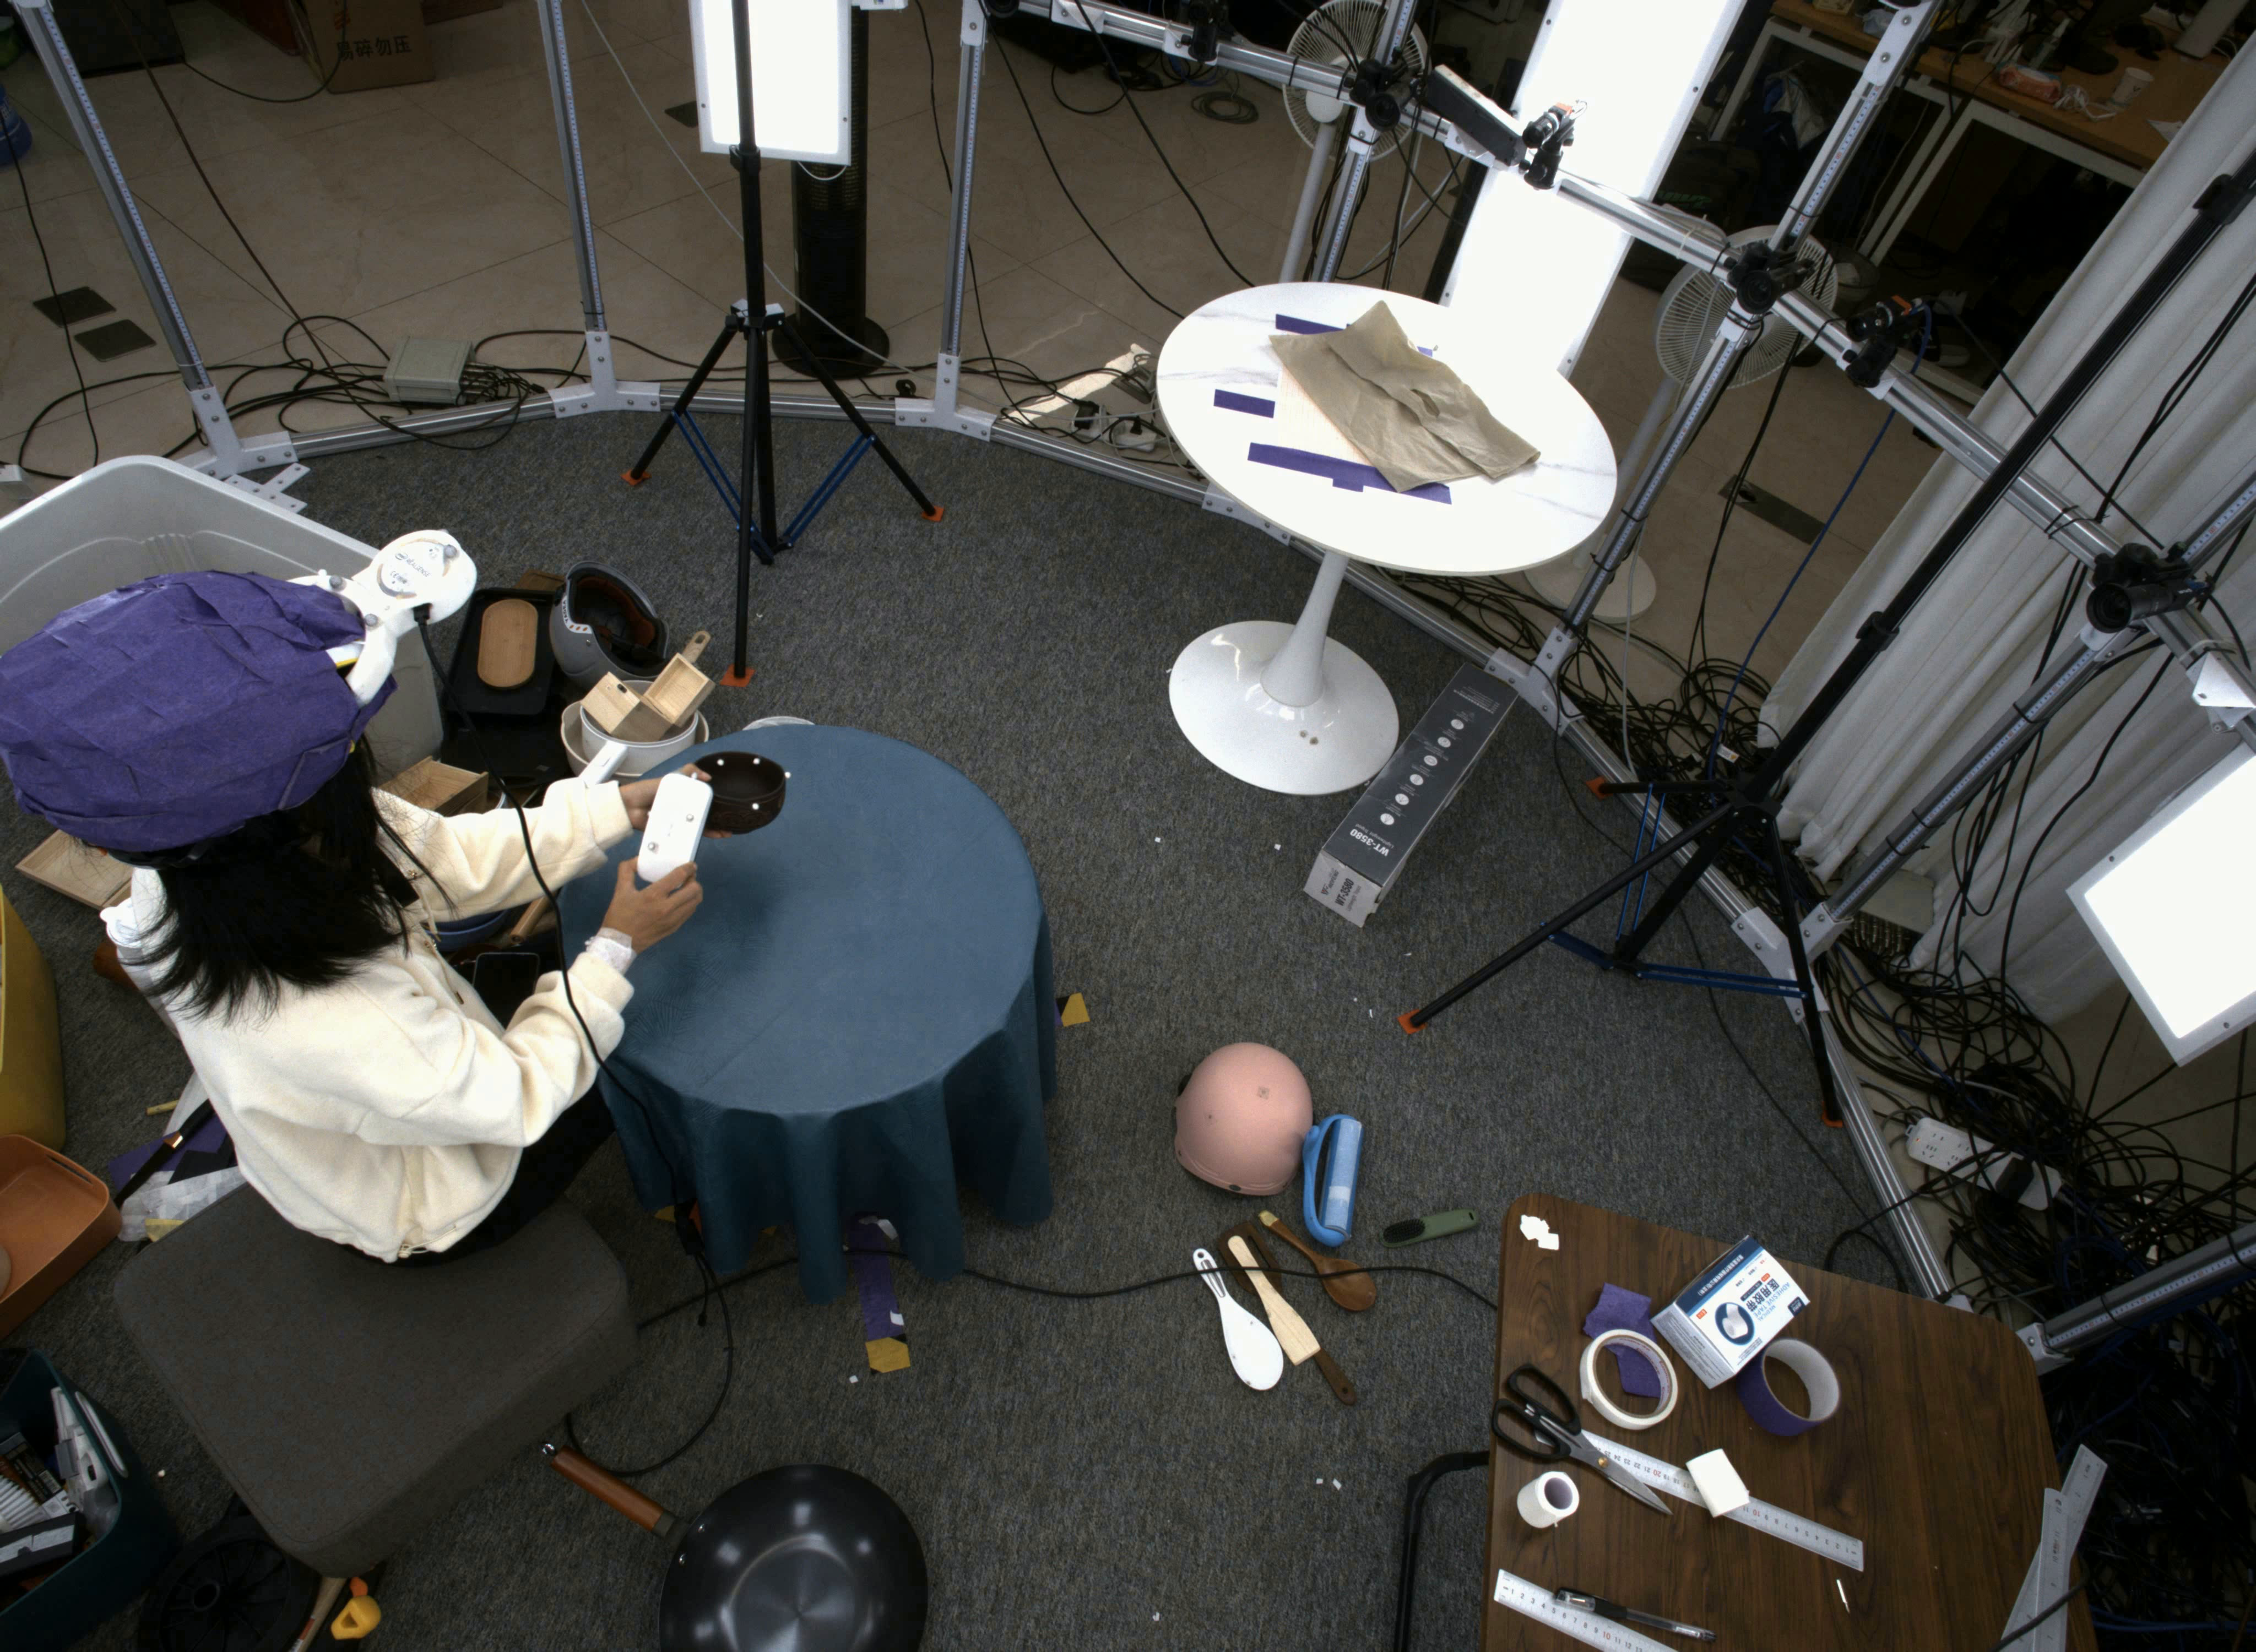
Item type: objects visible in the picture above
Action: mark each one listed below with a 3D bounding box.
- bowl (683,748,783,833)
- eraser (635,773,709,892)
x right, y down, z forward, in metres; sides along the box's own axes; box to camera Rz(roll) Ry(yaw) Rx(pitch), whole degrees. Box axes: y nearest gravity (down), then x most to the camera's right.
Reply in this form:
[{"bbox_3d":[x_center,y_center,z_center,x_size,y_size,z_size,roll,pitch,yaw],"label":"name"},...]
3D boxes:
[{"bbox_3d":[-0.478,-0.038,1.563,0.117,0.072,0.115,9,31,-4],"label":"bowl"},{"bbox_3d":[-0.530,0.006,1.490,0.063,0.034,0.133,18,94,2],"label":"eraser"}]
